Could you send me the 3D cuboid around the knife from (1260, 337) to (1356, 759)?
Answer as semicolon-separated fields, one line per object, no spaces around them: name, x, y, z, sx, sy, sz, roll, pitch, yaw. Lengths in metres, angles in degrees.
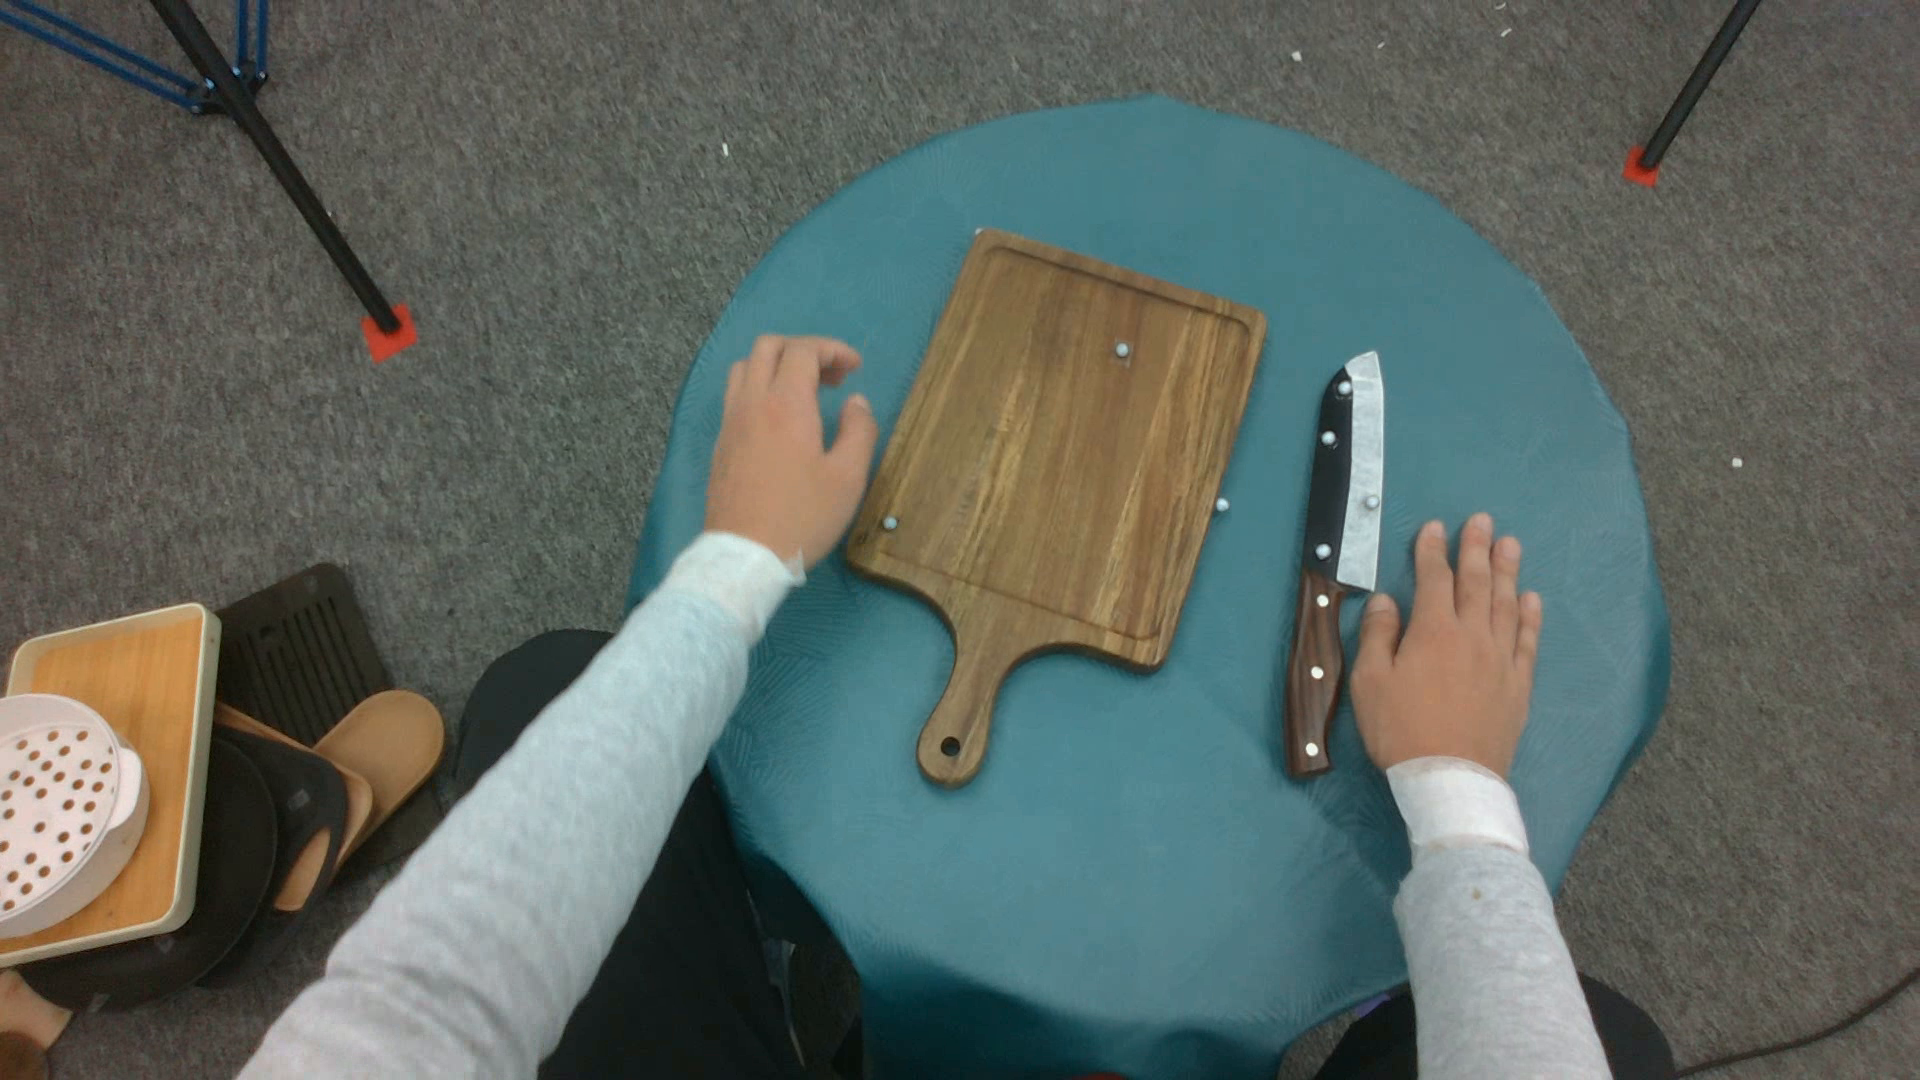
knife;0.209;-0.005;0.819;0.050;0.020;0.290;16;64;-2

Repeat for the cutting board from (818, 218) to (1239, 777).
cutting board;0.032;-0.028;0.816;0.201;0.023;0.353;18;67;5
